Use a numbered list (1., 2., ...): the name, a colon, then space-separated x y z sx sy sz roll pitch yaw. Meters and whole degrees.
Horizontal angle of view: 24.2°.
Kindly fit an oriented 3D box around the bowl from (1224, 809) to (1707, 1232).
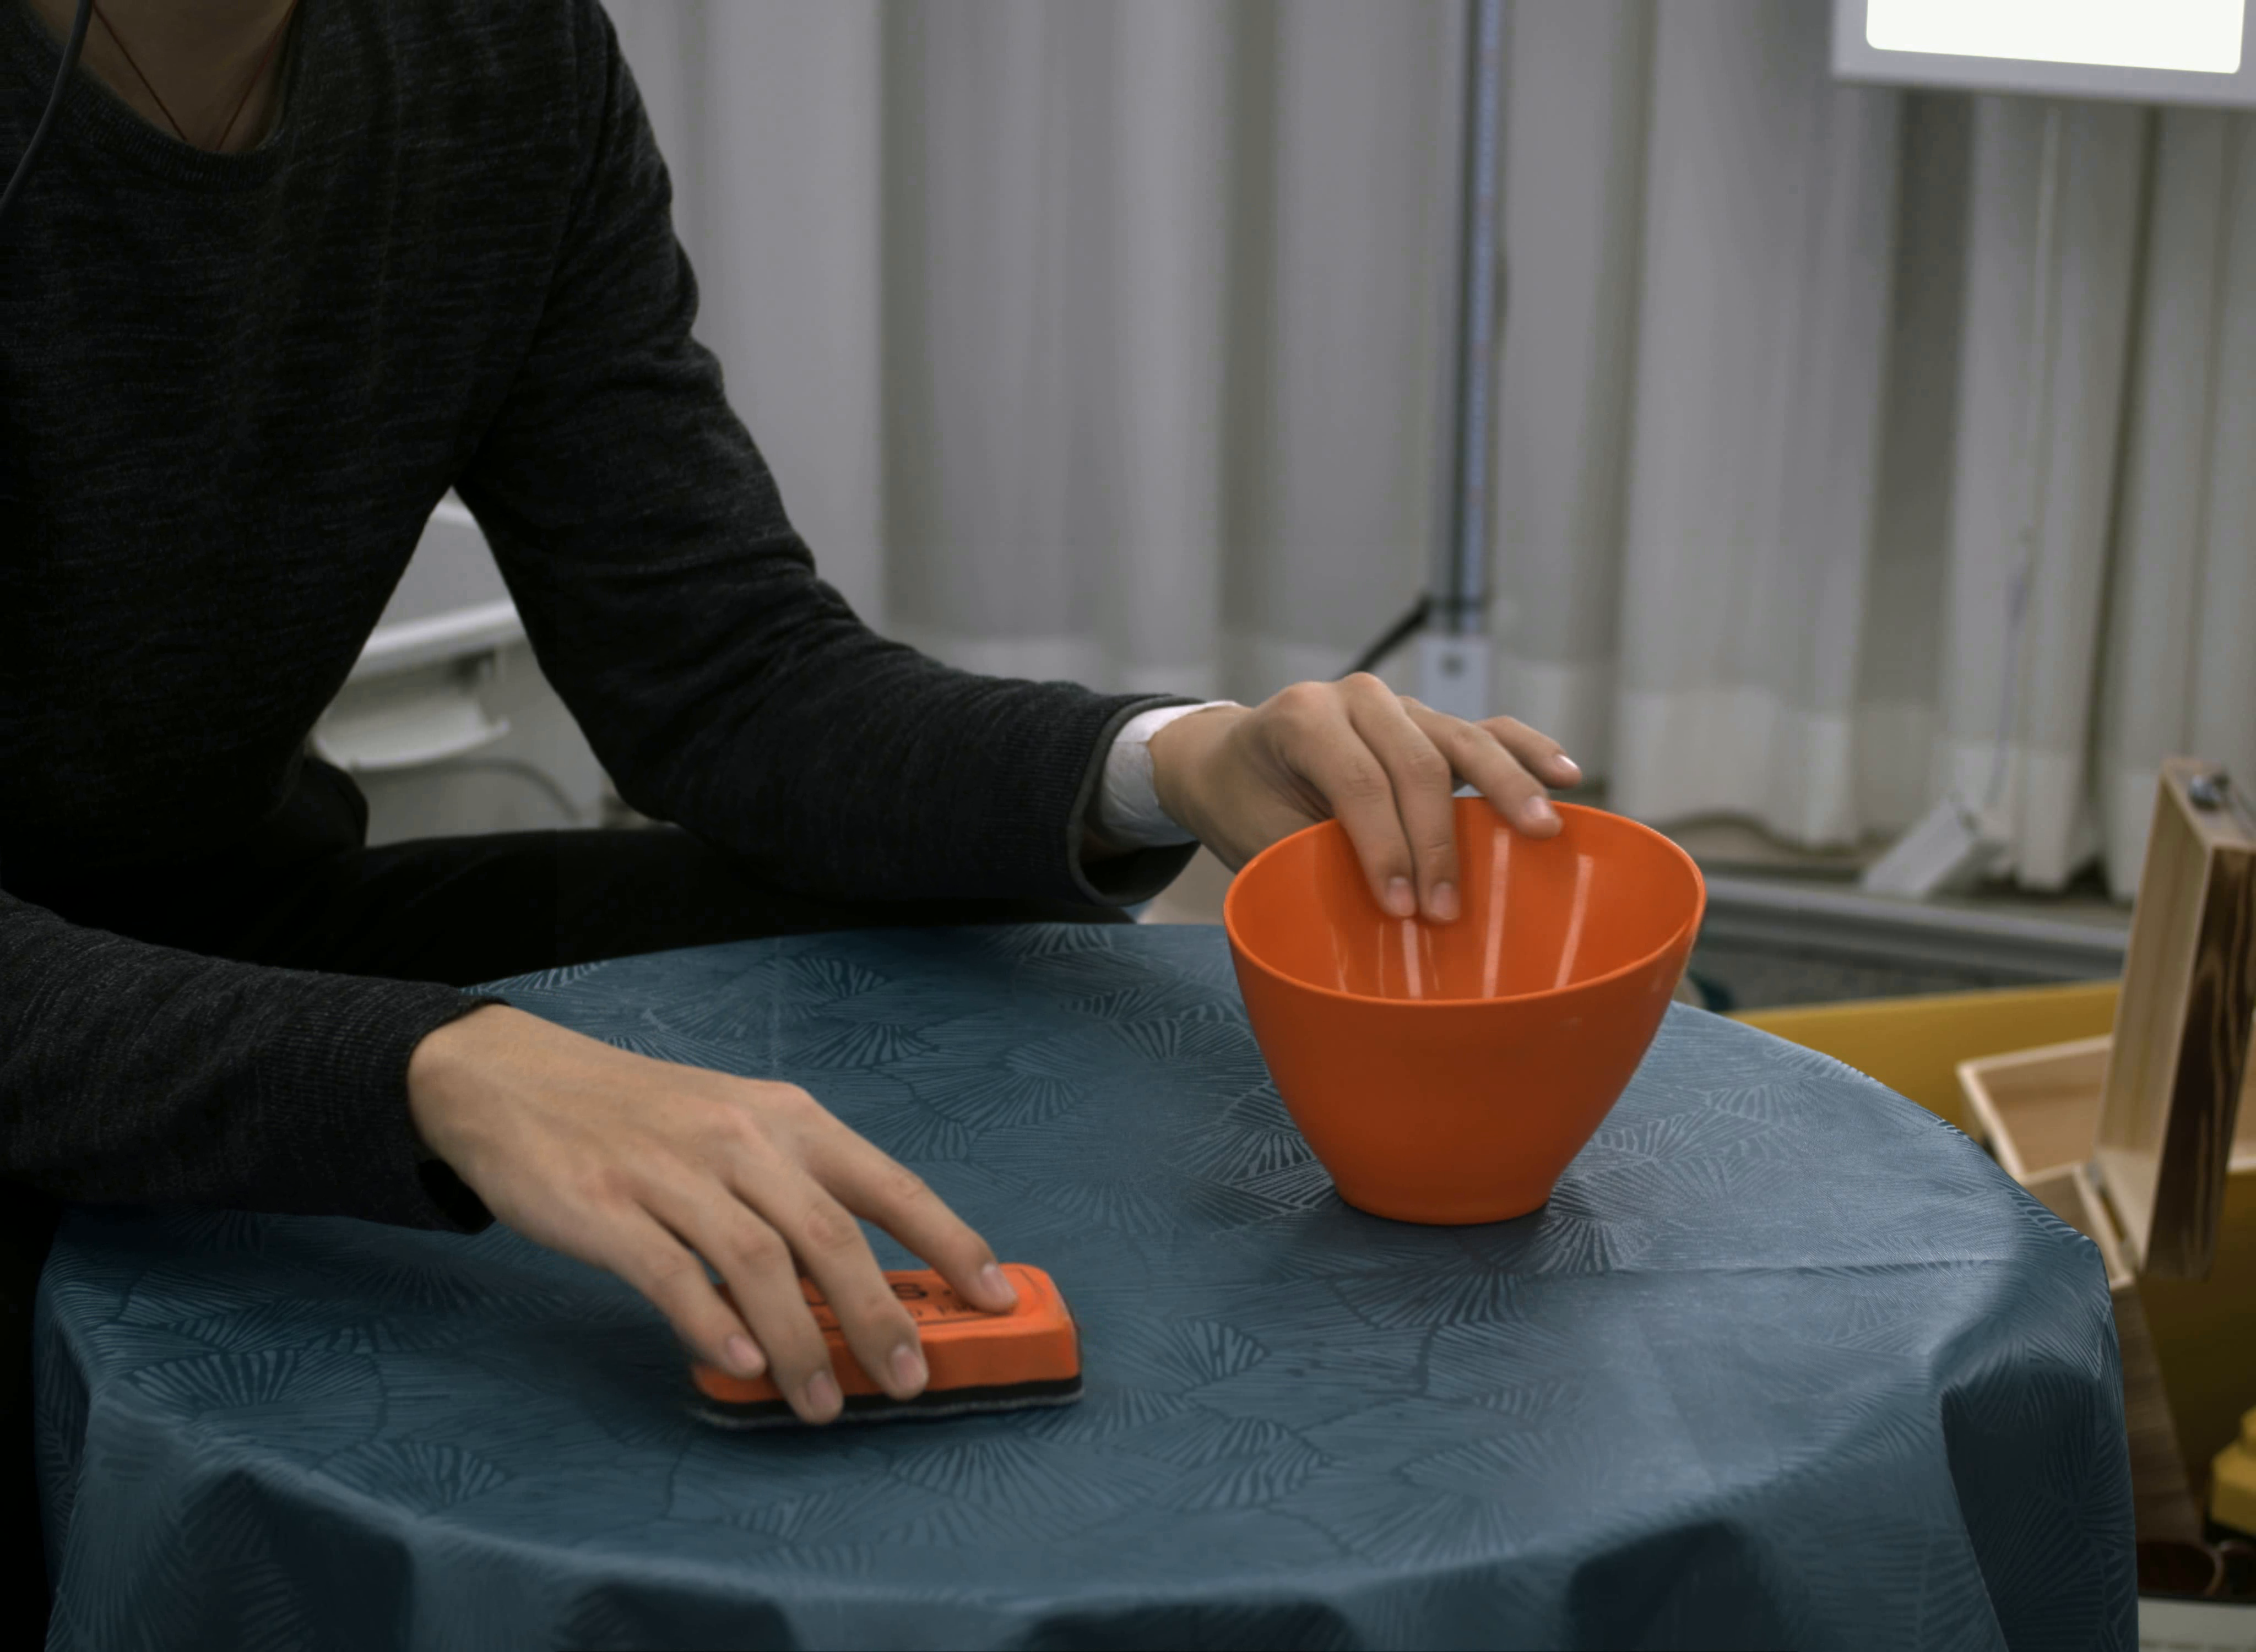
1. bowl: 0.102 0.063 1.617 0.147 0.105 0.147 1 15 0

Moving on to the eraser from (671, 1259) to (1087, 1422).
1. eraser: -0.069 0.141 1.452 0.108 0.023 0.058 -2 17 -20
